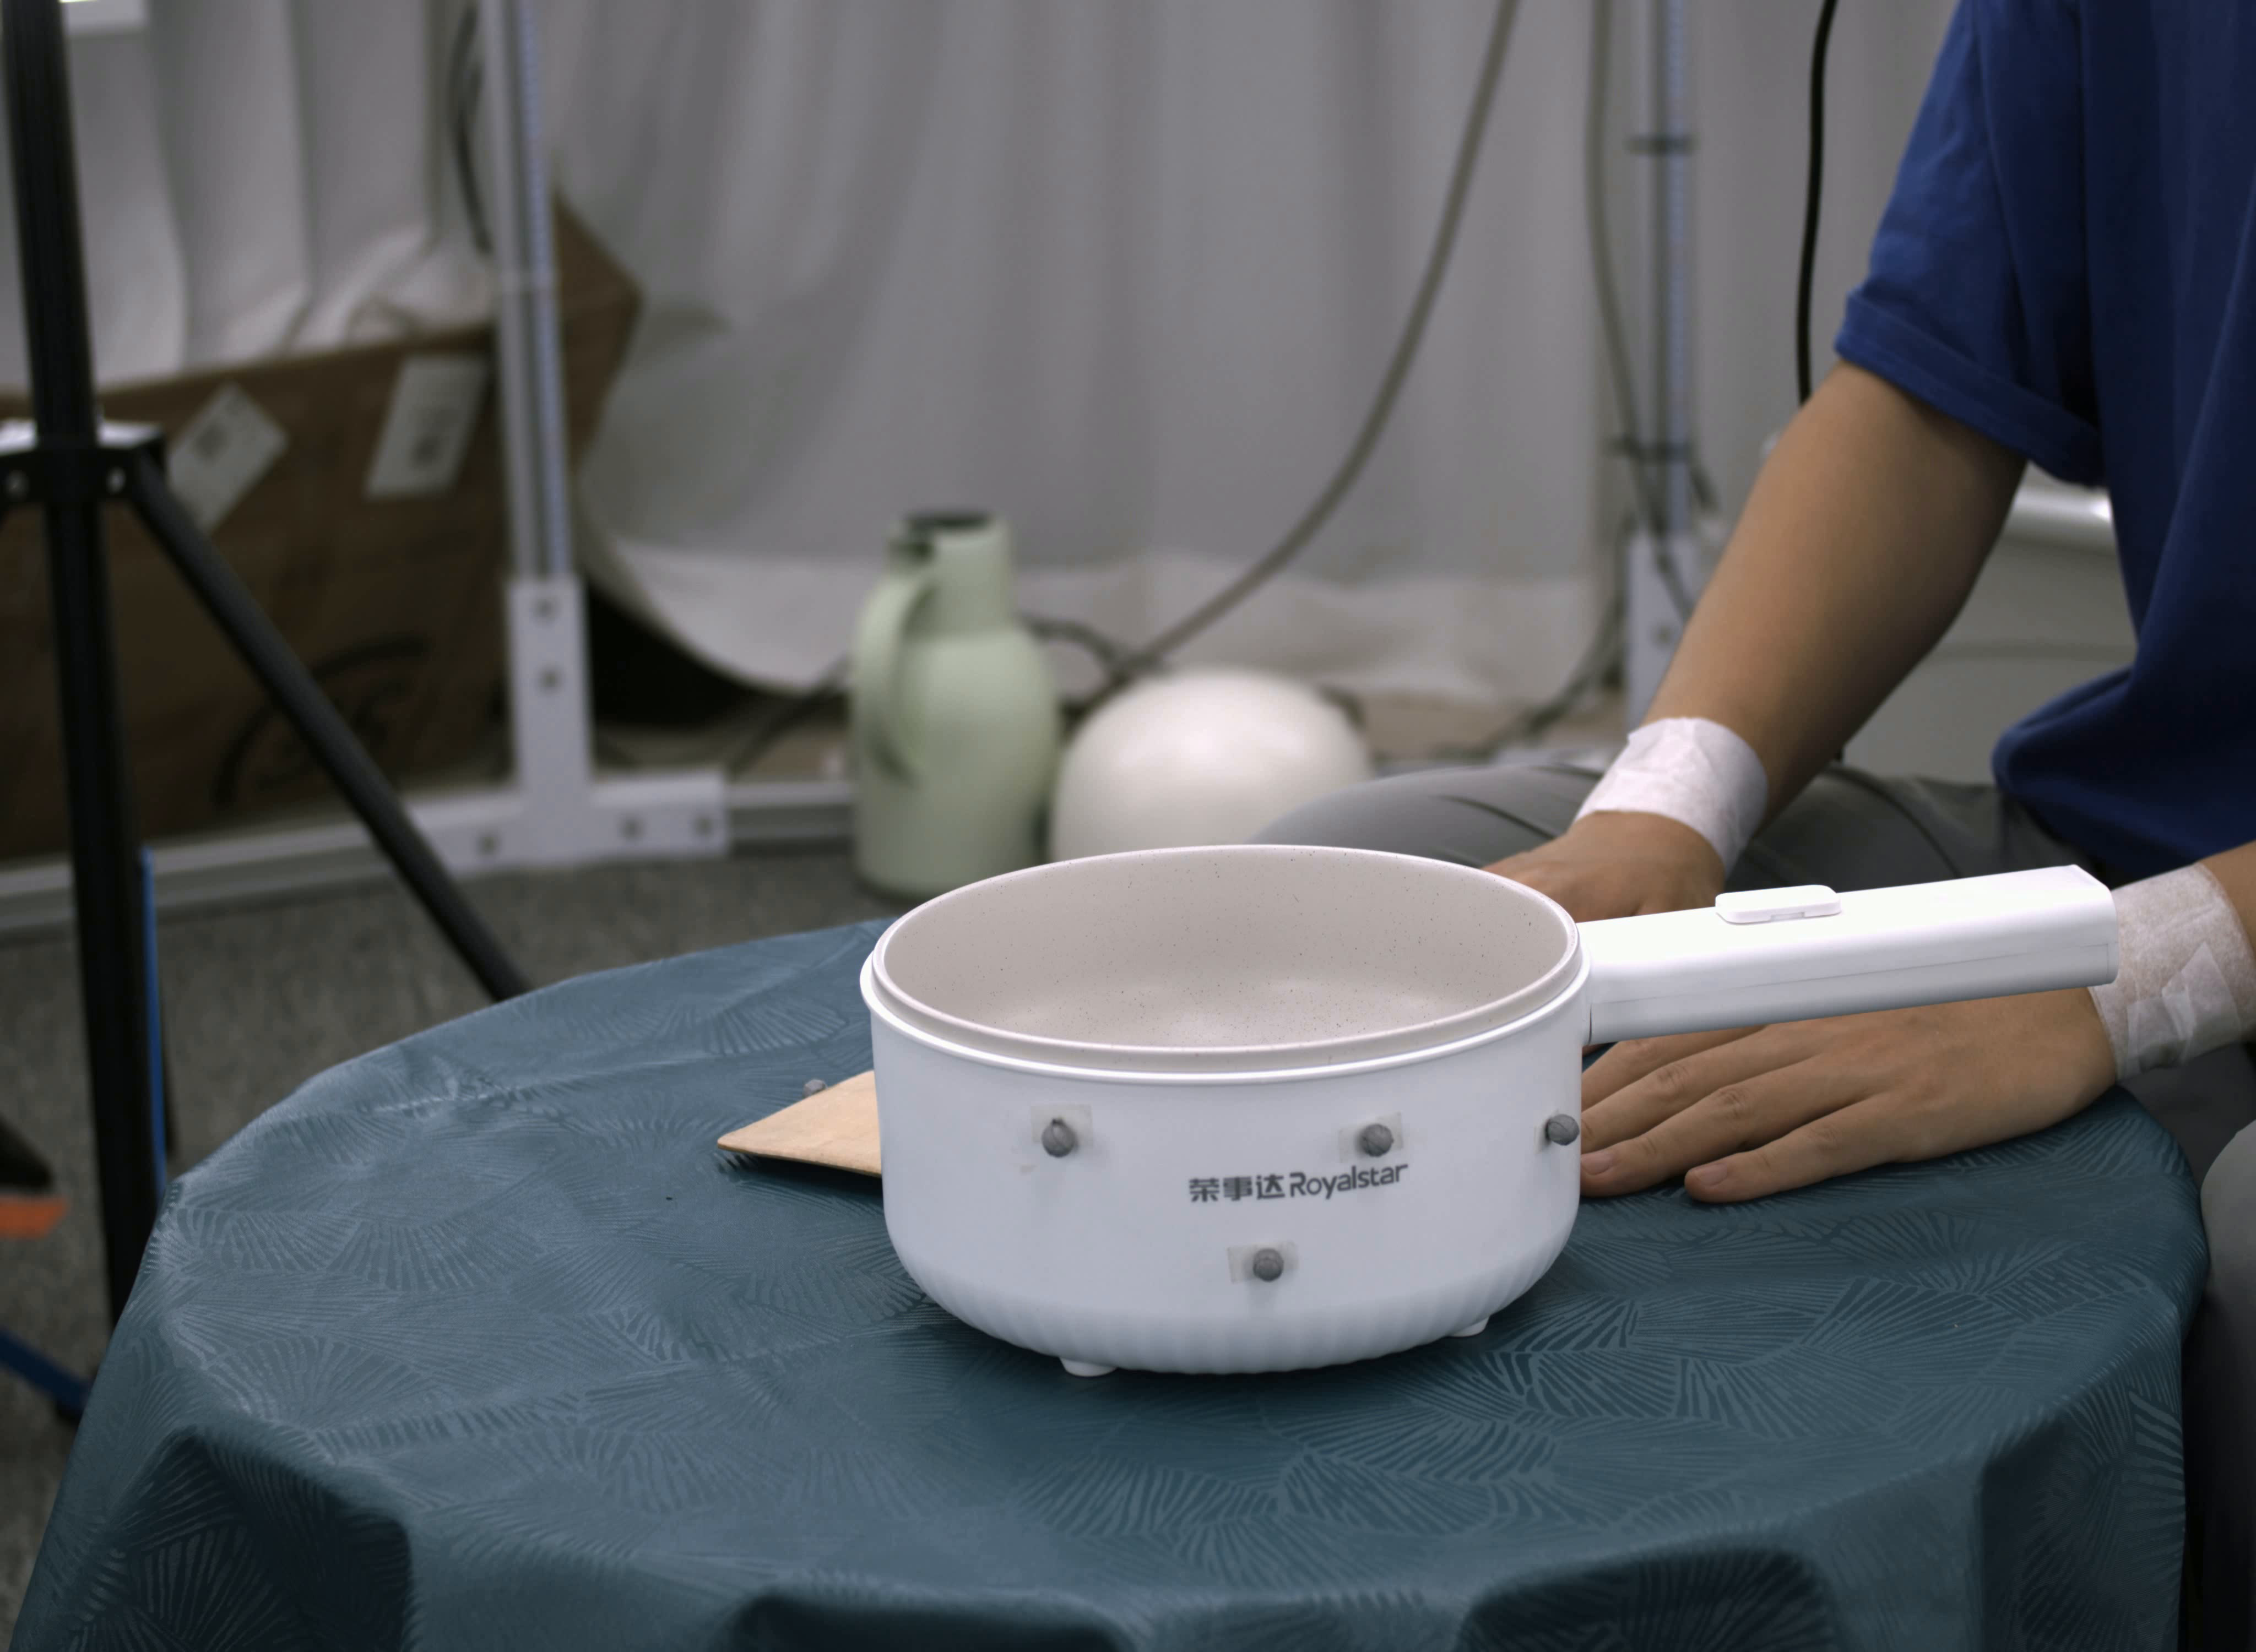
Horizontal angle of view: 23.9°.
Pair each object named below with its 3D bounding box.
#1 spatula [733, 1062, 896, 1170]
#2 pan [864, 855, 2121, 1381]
[{"bbox_3d":[-0.017,0.063,1.697,0.073,0.010,0.287,6,18,32],"label":"spatula"},{"bbox_3d":[0.104,0.075,1.479,0.350,0.102,0.203,-5,14,-9],"label":"pan"}]
